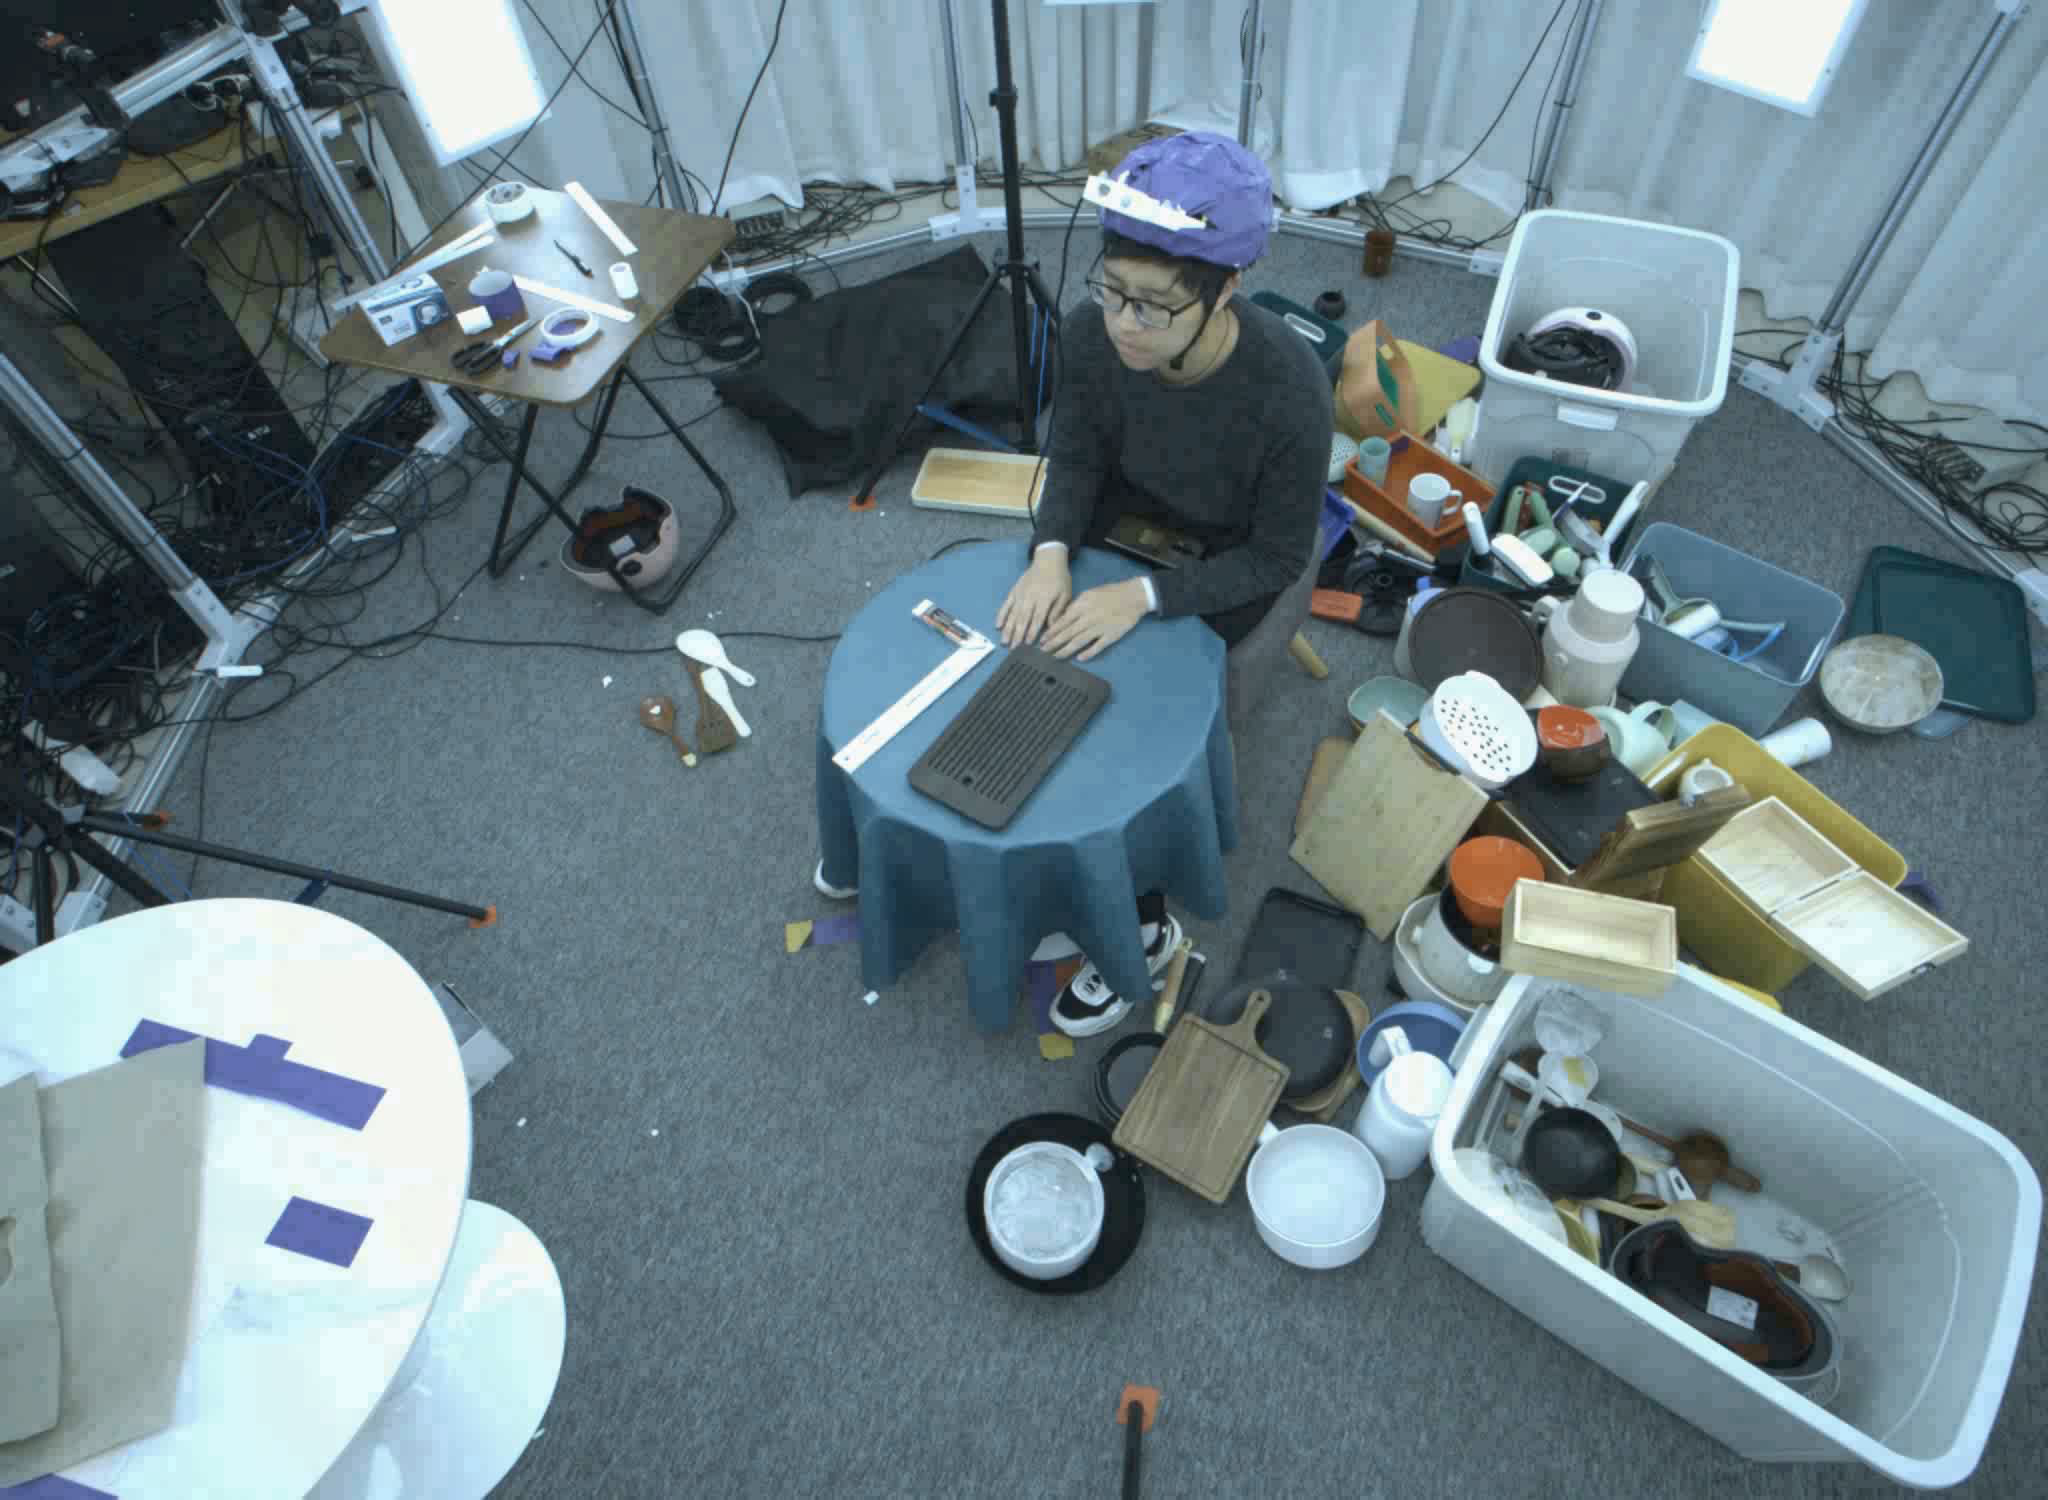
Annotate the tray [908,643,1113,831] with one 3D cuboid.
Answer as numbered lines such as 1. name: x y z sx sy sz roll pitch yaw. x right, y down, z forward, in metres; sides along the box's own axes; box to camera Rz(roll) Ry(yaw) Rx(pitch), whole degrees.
1. tray: -0.016 -0.023 1.794 0.167 0.019 0.307 27 60 20

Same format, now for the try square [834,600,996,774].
1. try square: -0.200 -0.102 1.863 0.149 0.016 0.315 35 64 25
